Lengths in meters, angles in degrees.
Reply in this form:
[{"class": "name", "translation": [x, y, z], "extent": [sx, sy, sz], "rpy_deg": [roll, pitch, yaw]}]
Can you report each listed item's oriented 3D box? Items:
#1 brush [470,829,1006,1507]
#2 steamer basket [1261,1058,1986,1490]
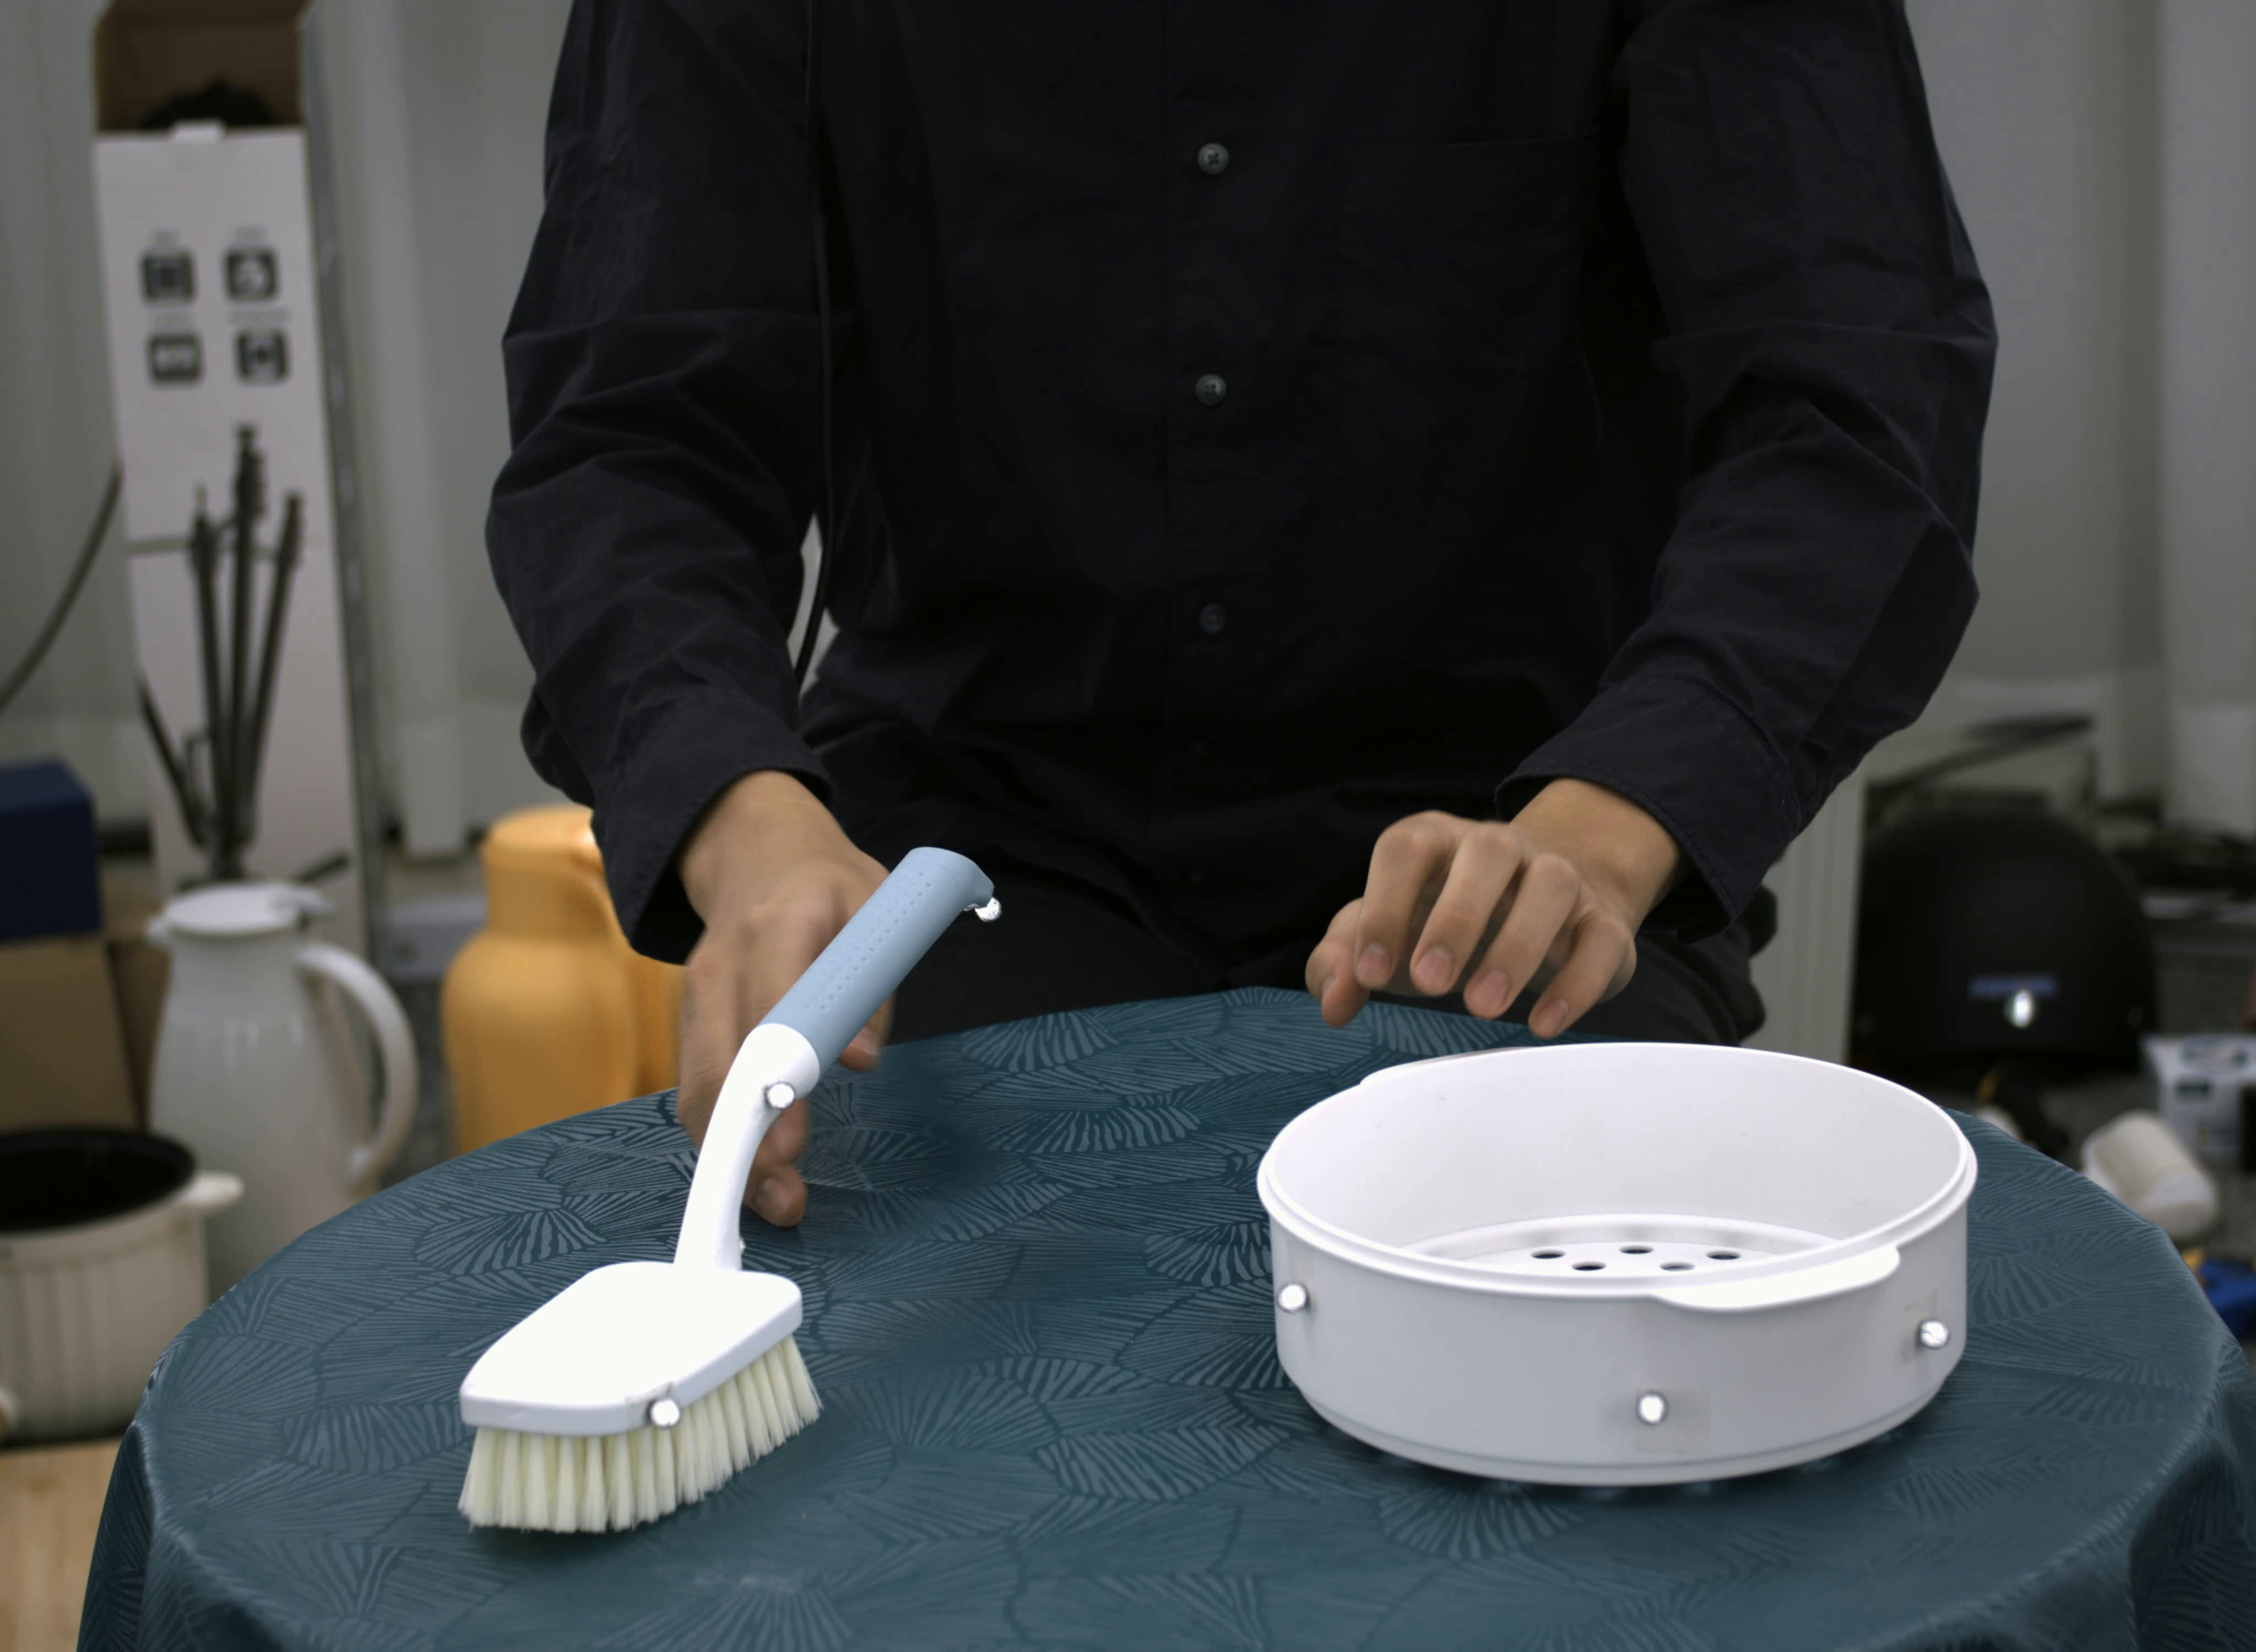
[{"class": "brush", "translation": [-0.098, 0.111, 1.589], "extent": [0.083, 0.084, 0.328], "rpy_deg": [35, 35, 3]}, {"class": "steamer basket", "translation": [0.139, 0.125, 1.530], "extent": [0.201, 0.069, 0.232], "rpy_deg": [-8, 15, -20]}]
